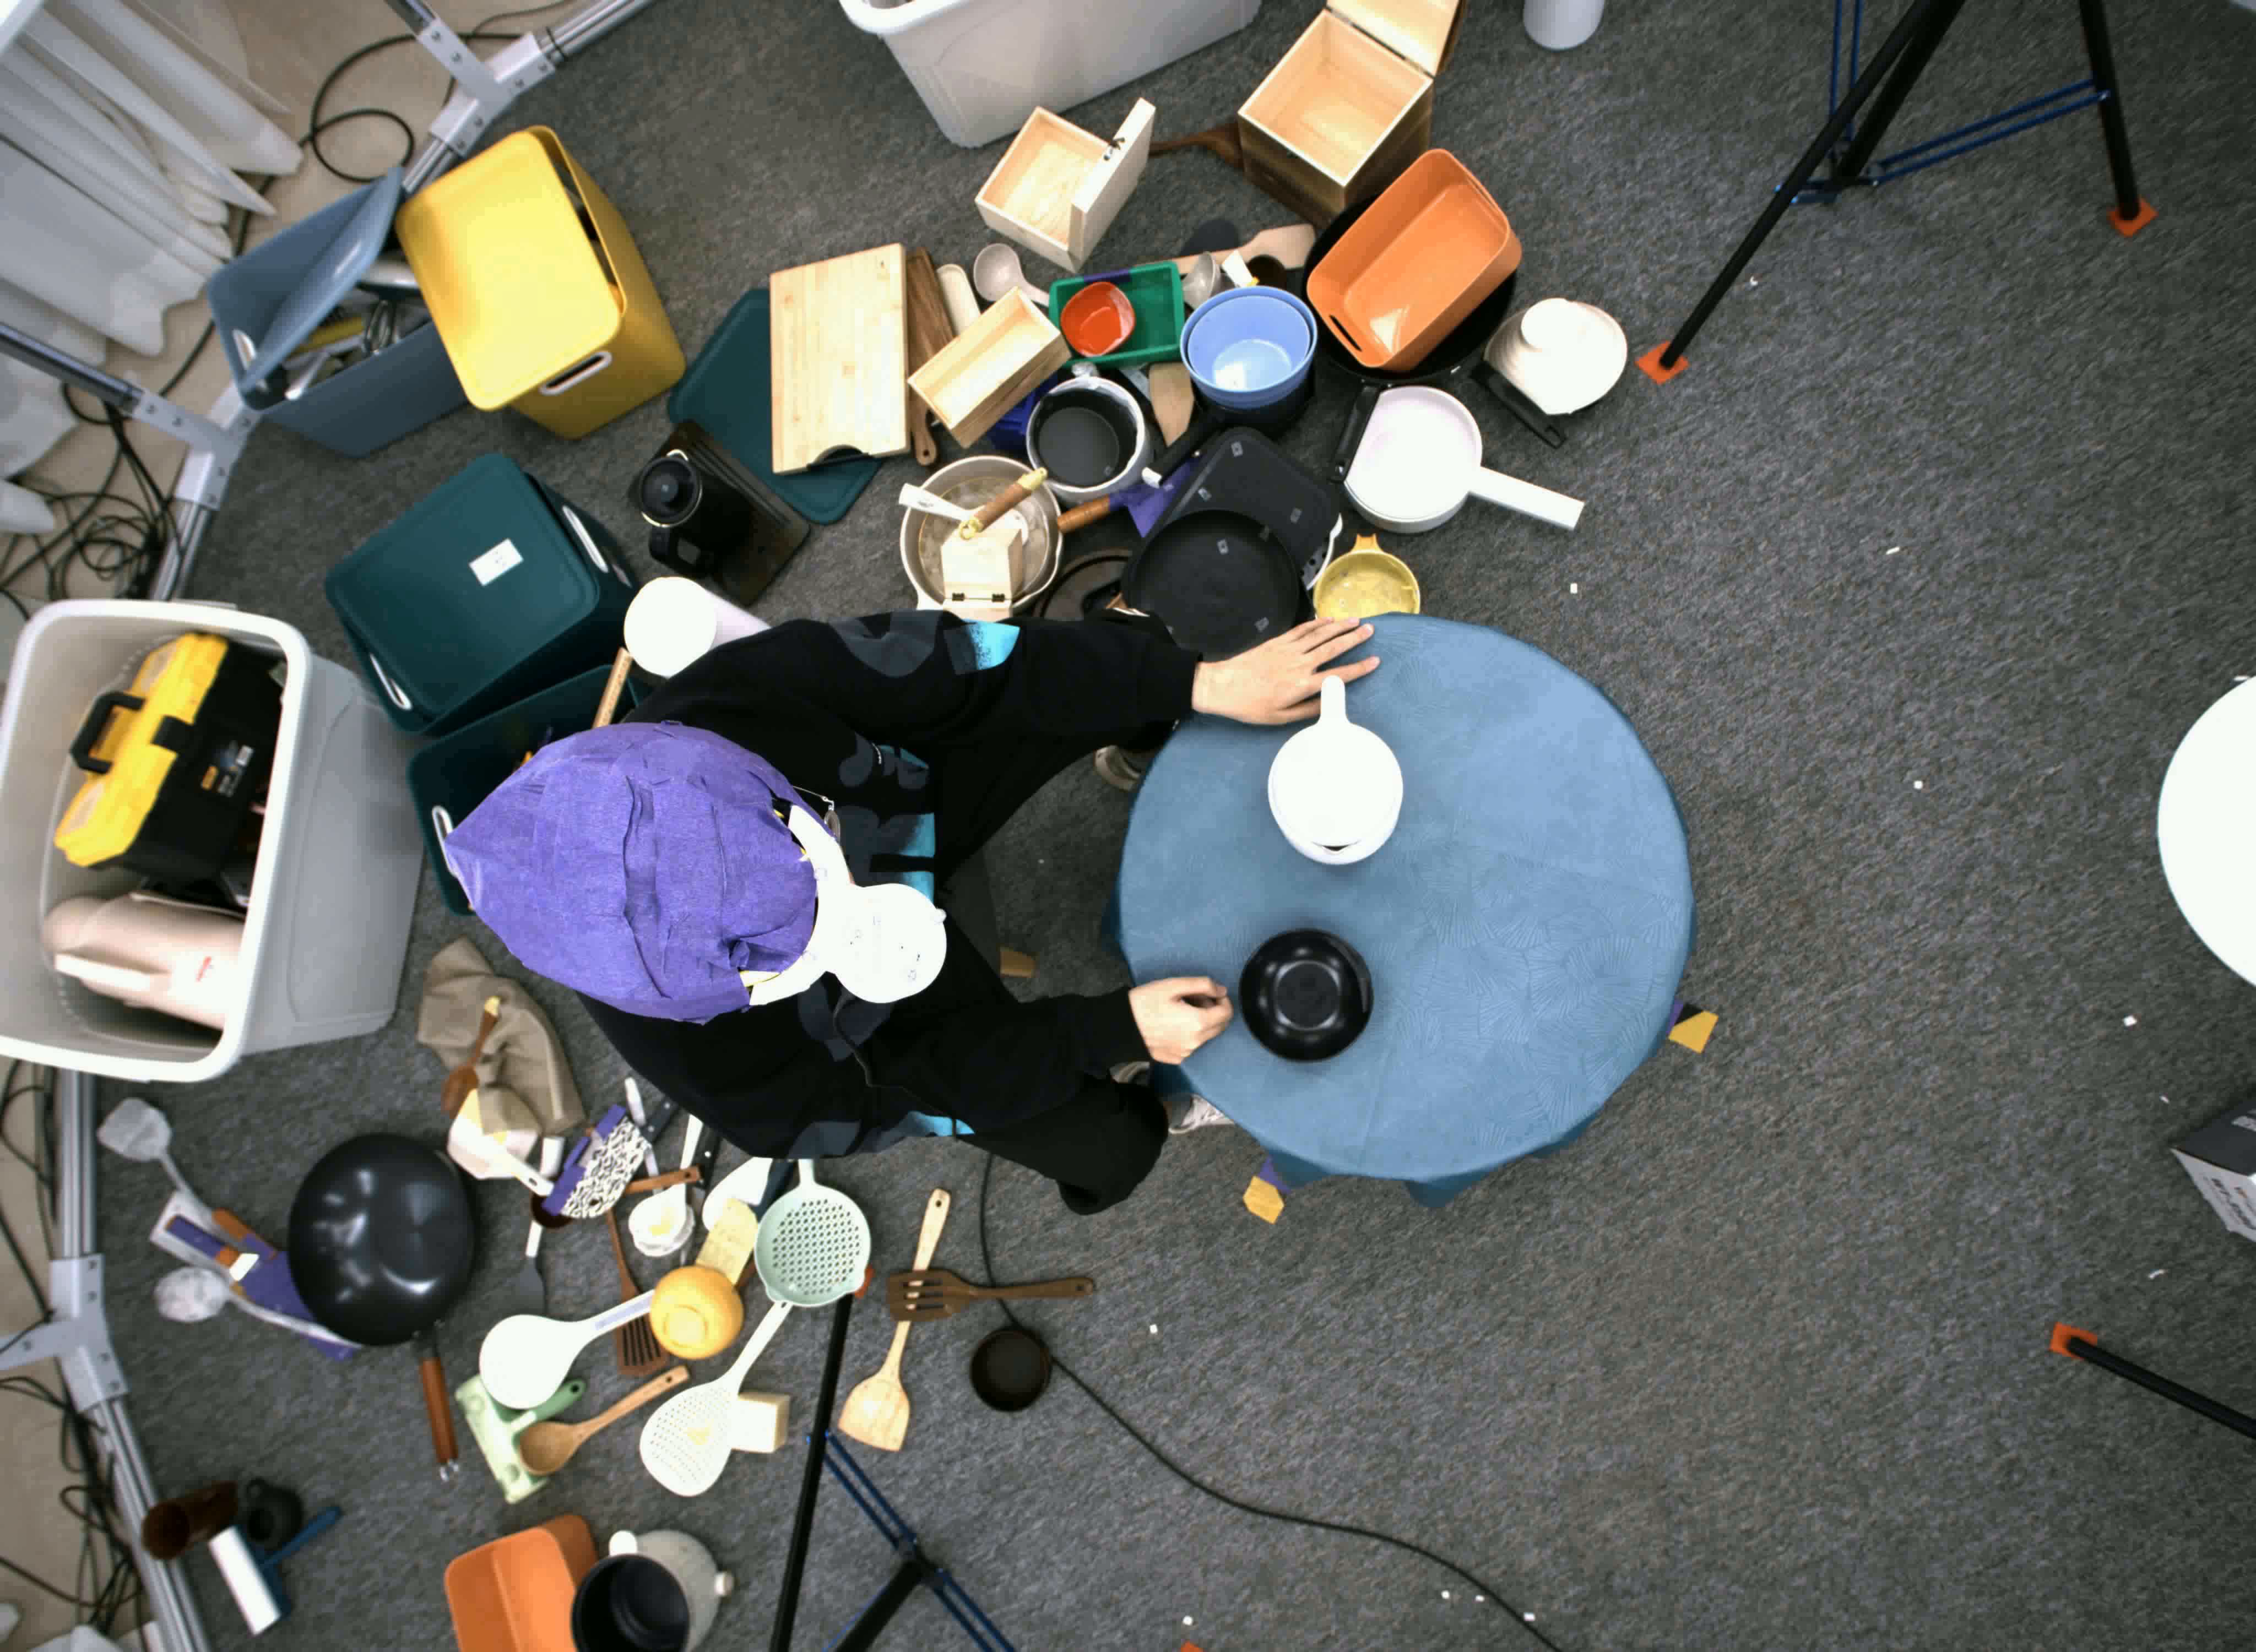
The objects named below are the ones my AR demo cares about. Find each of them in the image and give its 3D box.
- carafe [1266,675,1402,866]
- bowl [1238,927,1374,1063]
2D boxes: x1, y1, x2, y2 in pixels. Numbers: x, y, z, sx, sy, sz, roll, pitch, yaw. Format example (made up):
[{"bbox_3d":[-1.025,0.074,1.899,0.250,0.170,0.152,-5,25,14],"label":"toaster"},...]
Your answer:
[{"bbox_3d":[0.206,-0.057,1.387,0.133,0.183,0.190,-3,83,8],"label":"carafe"},{"bbox_3d":[0.186,0.175,1.442,0.140,0.050,0.139,-1,86,12],"label":"bowl"}]
